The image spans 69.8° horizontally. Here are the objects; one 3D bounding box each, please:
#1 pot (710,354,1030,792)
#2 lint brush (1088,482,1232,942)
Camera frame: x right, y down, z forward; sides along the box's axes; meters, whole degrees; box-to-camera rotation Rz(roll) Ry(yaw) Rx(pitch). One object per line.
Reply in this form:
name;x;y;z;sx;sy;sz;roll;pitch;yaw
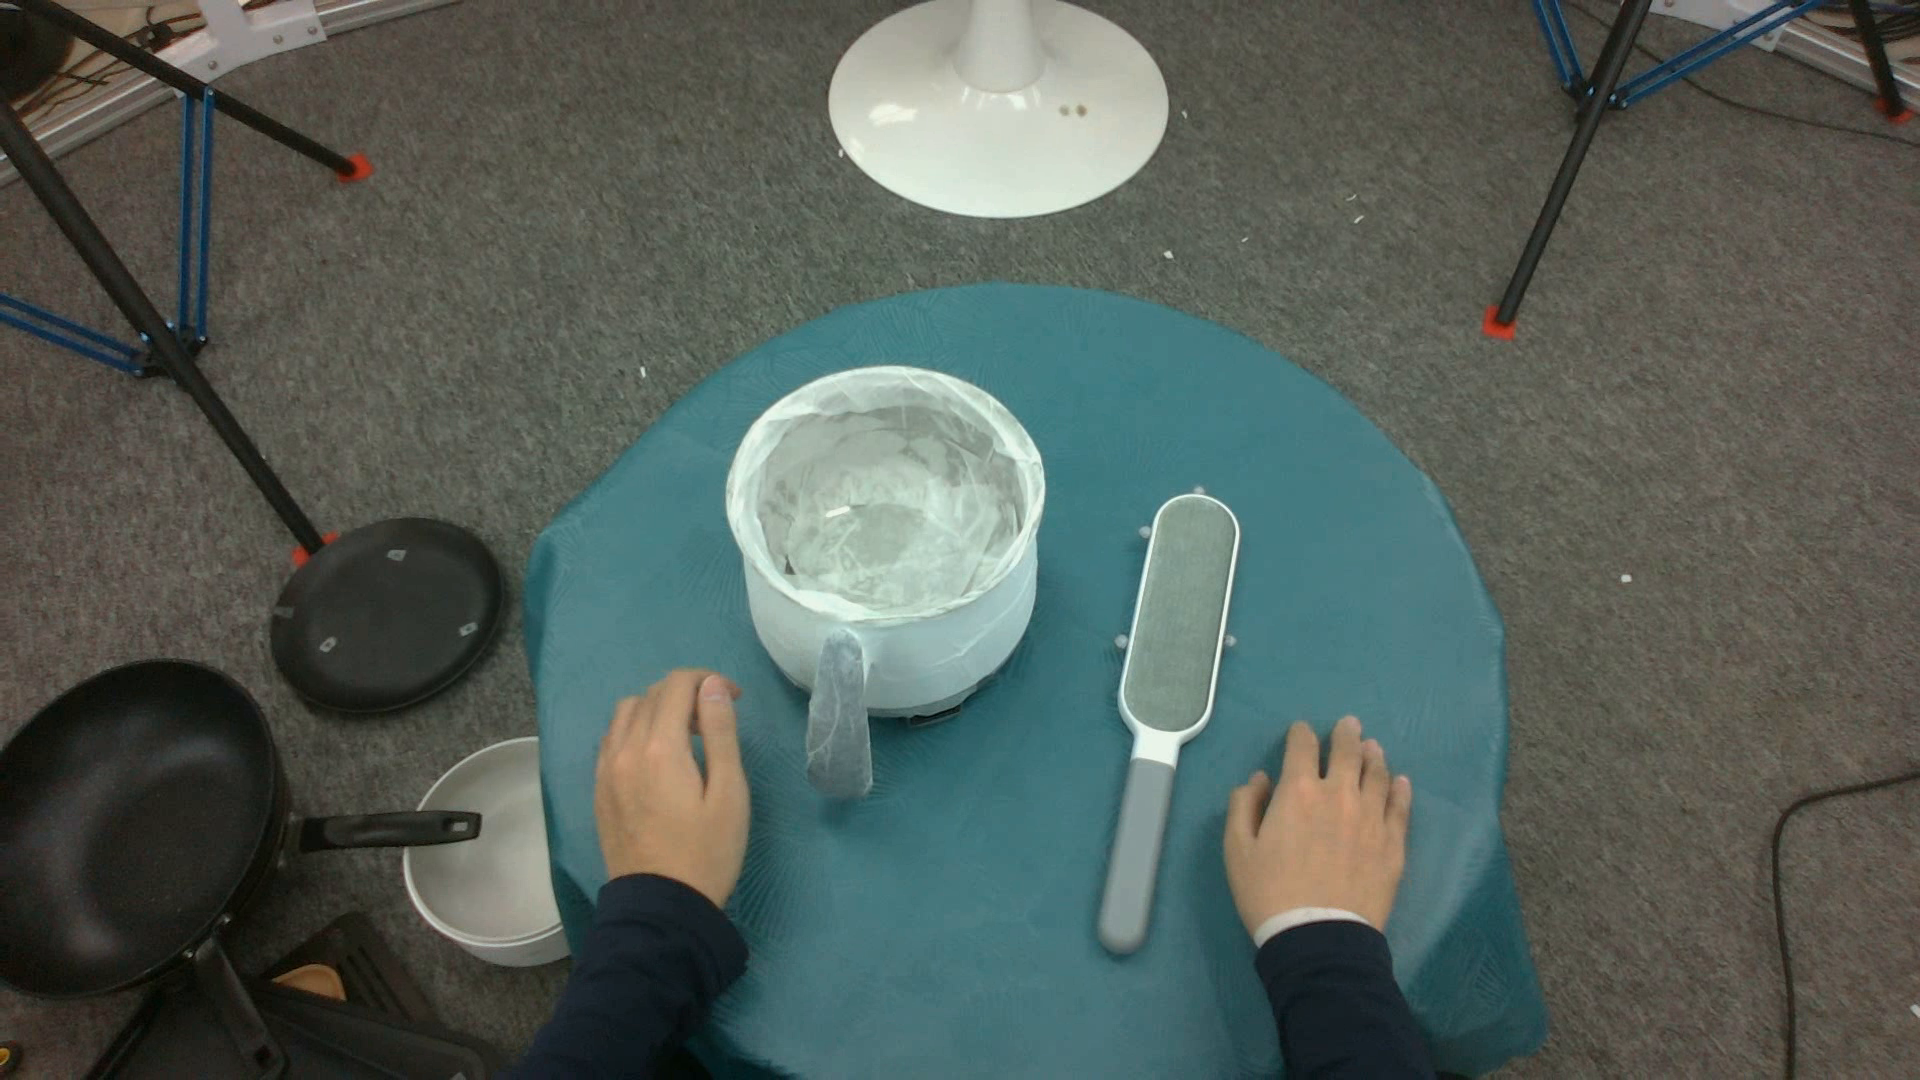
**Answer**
pot;-0.052;0.021;0.796;0.178;0.136;0.235;7;55;7
lint brush;0.115;0.089;0.822;0.060;0.021;0.310;15;57;2
